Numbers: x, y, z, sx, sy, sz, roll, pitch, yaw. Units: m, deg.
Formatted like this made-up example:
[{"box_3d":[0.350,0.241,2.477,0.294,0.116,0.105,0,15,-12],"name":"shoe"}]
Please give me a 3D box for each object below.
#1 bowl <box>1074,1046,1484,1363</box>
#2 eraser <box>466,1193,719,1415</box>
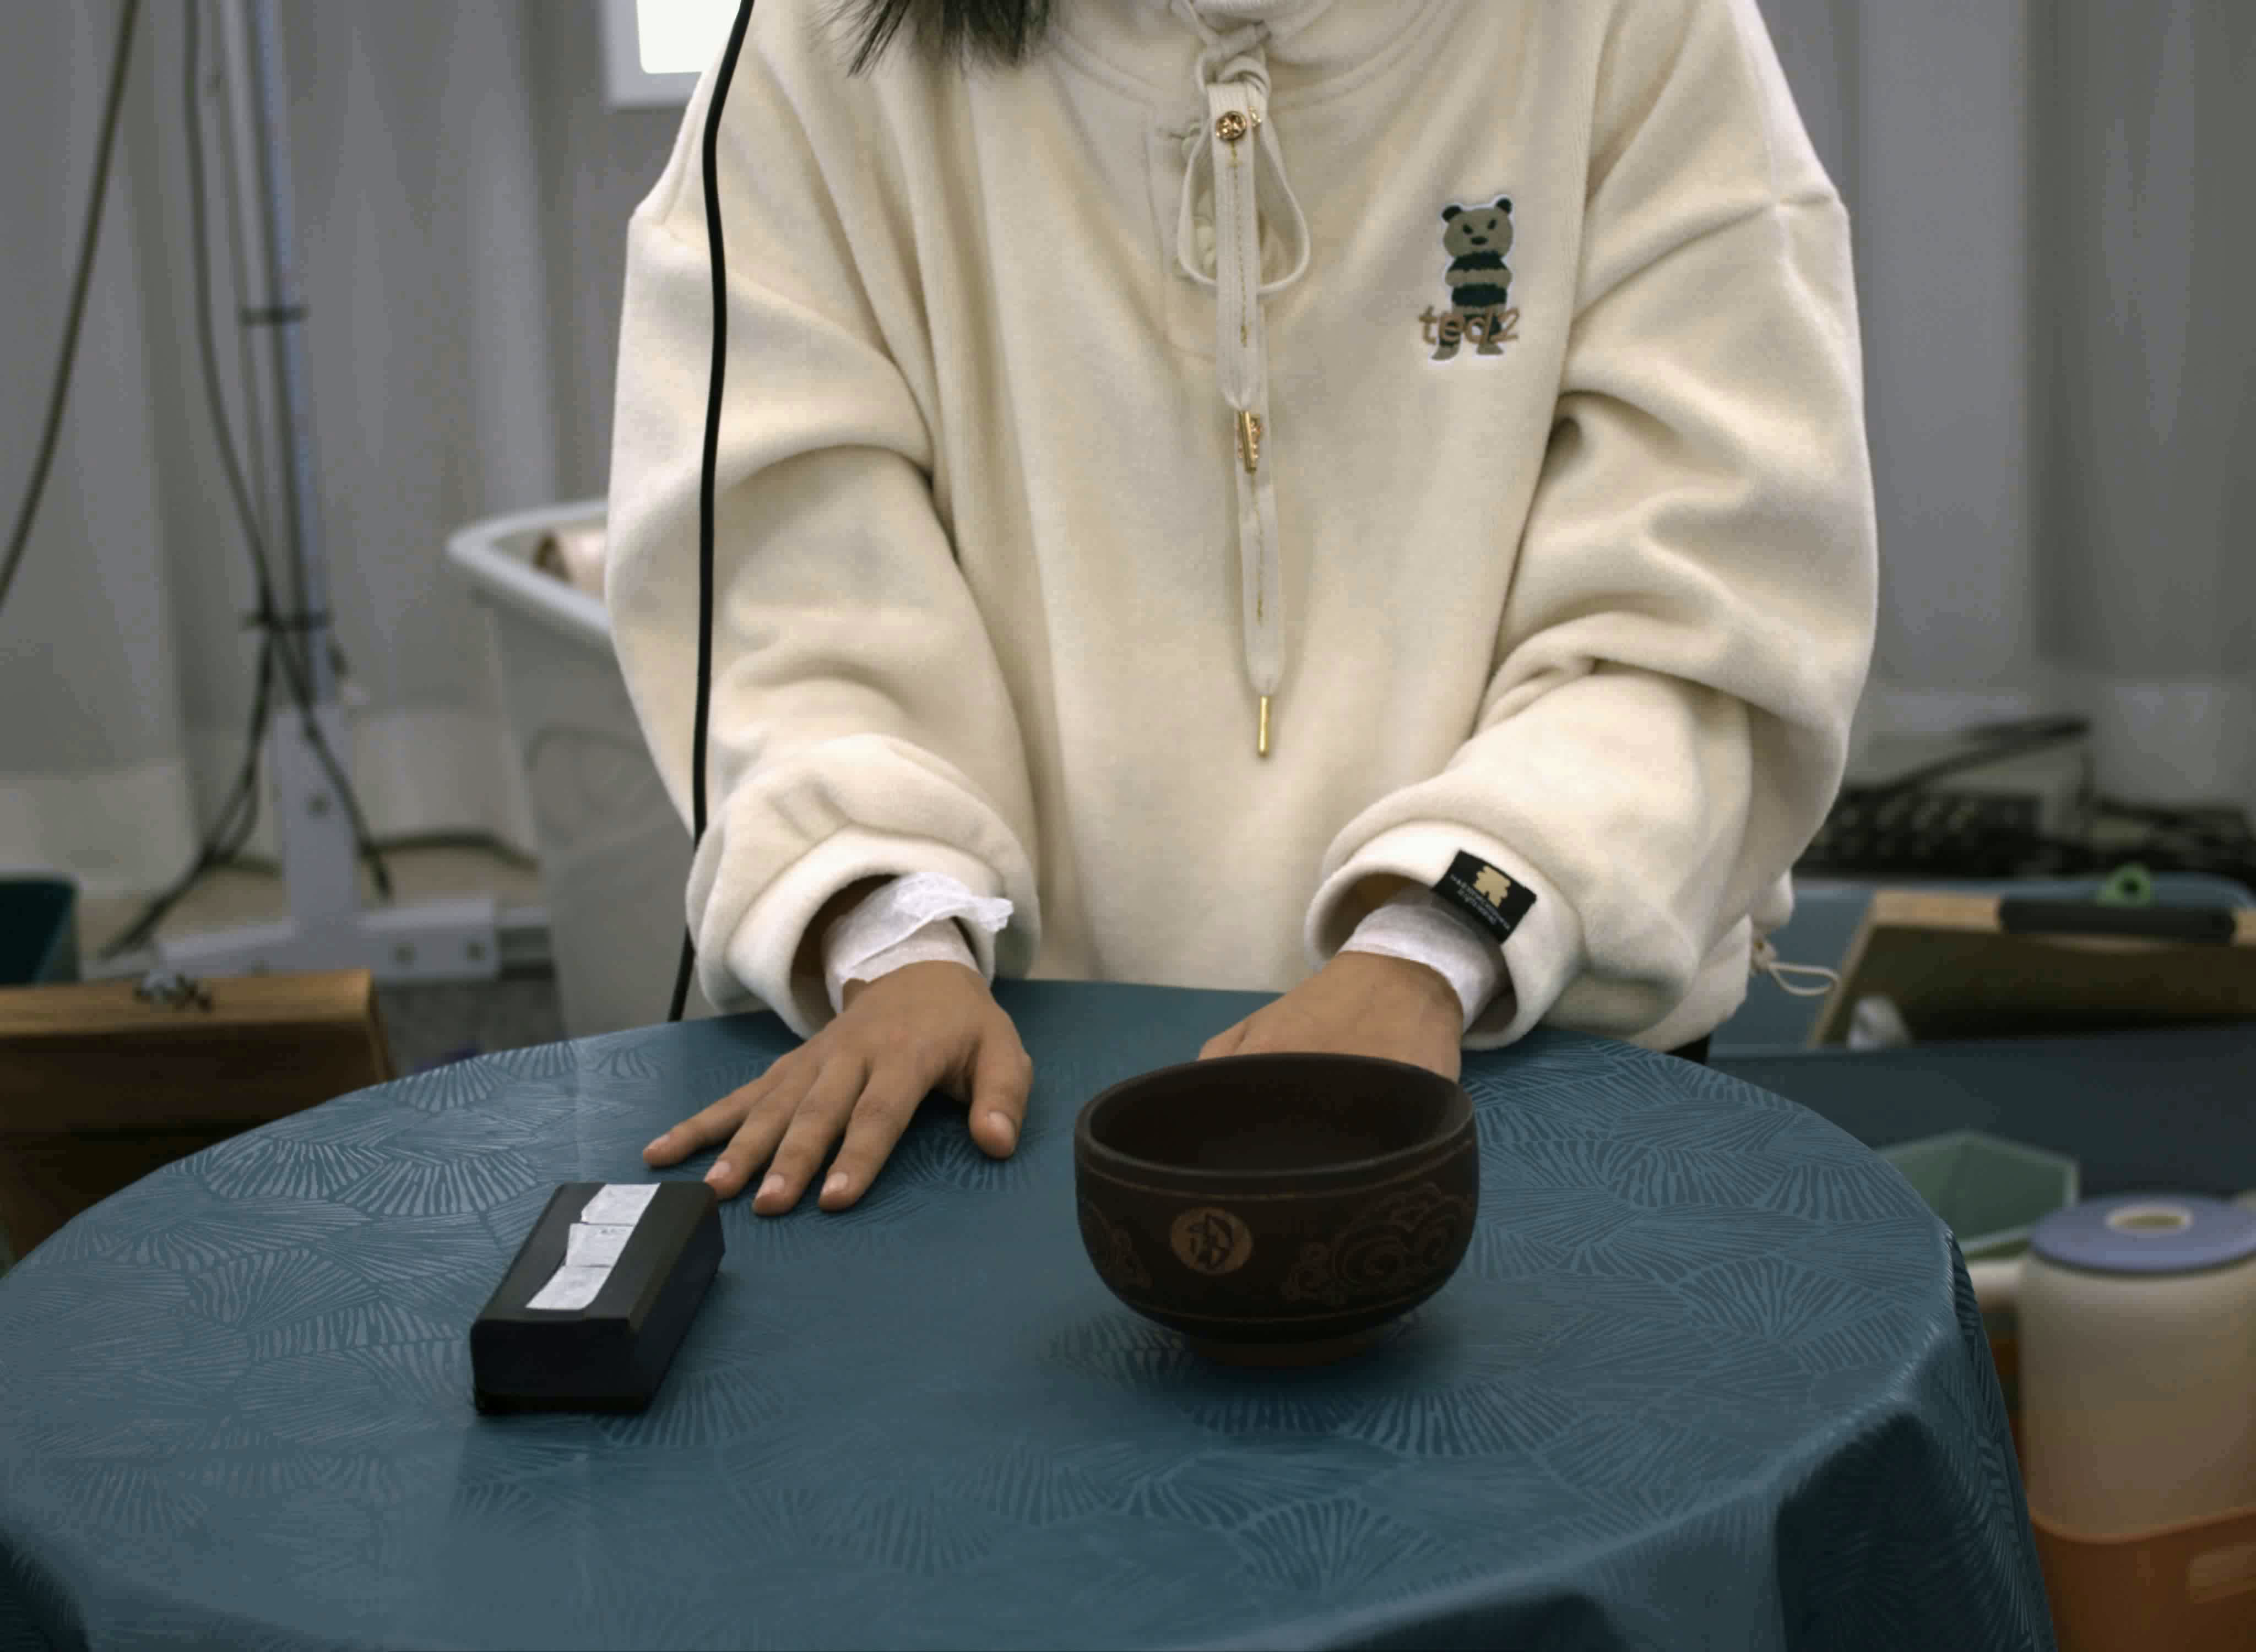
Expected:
[{"box_3d":[0.044,0.113,1.573,0.117,0.069,0.119,-3,13,0],"name":"bowl"},{"box_3d":[-0.155,0.139,1.601,0.053,0.030,0.126,0,13,5],"name":"eraser"}]
